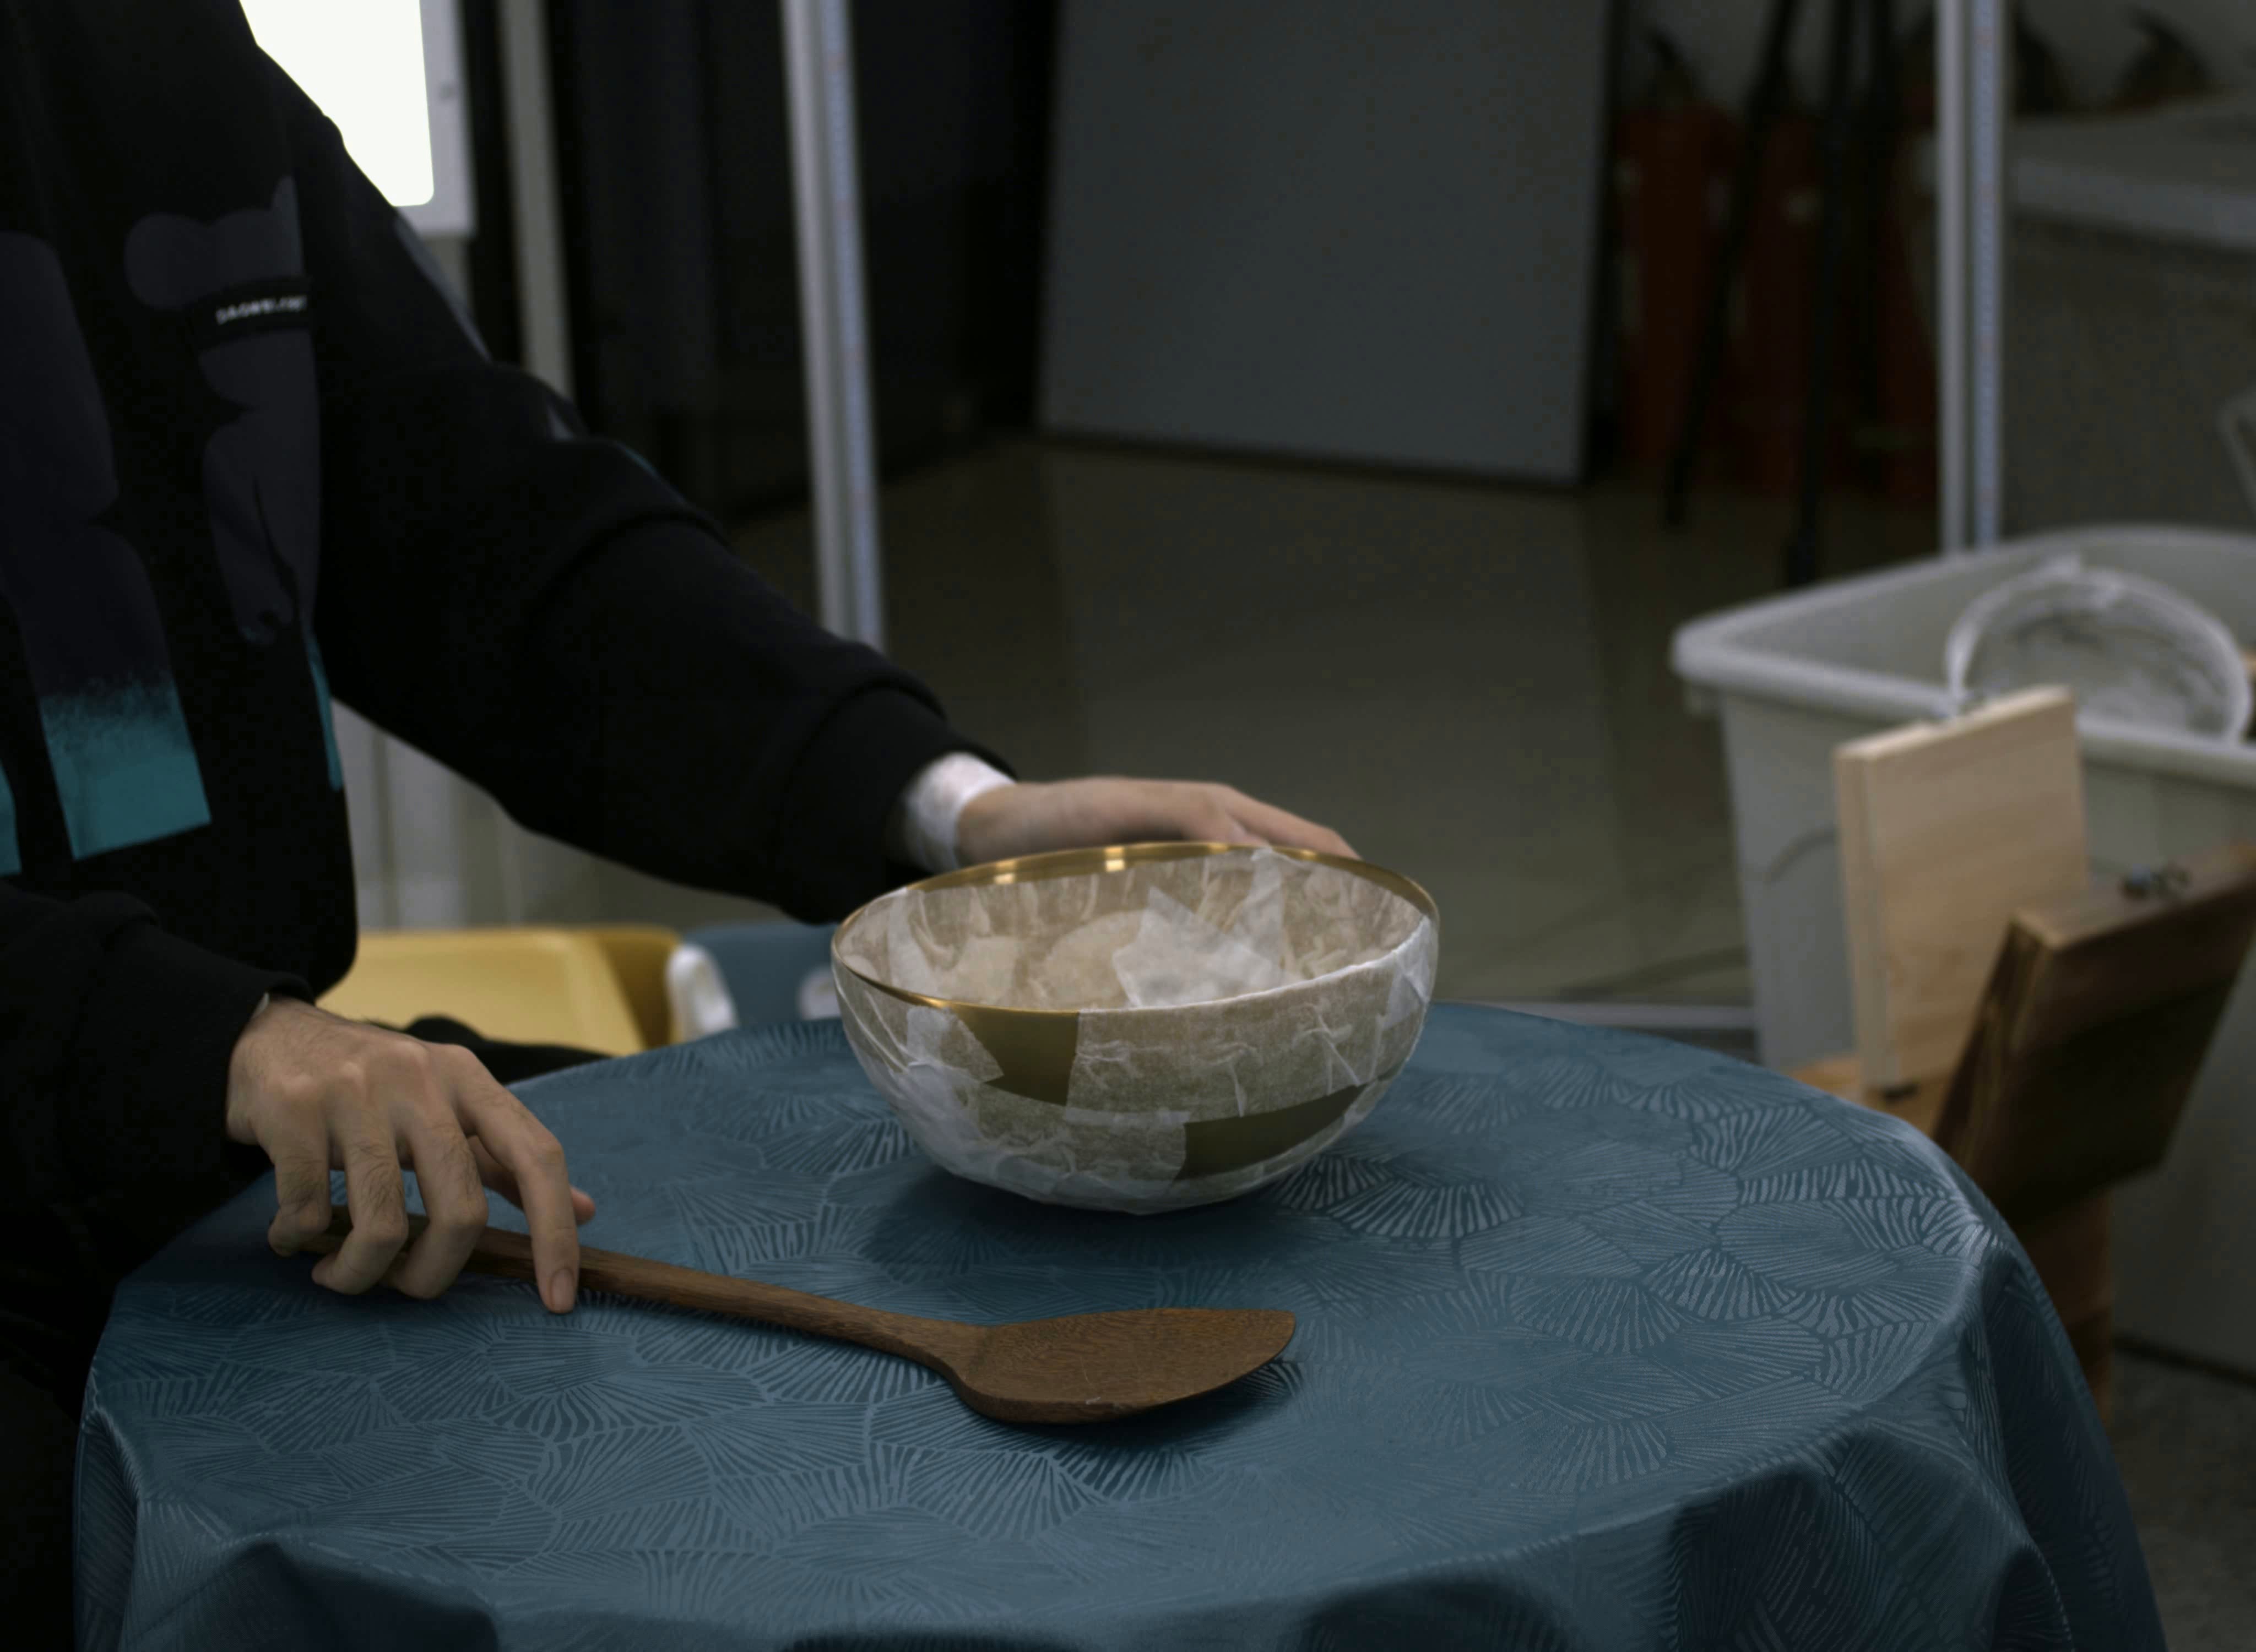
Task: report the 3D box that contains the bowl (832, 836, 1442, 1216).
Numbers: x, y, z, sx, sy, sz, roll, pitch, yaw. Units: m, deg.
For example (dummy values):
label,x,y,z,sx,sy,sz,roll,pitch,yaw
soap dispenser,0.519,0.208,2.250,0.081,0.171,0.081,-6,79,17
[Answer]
label,x,y,z,sx,sy,sz,roll,pitch,yaw
bowl,0.005,0.072,1.771,0.212,0.095,0.215,-5,14,0

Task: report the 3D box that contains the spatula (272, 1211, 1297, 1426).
label,x,y,z,sx,sy,sz,roll,pitch,yaw
spatula,-0.121,0.147,1.672,0.388,0.016,0.094,6,16,35
